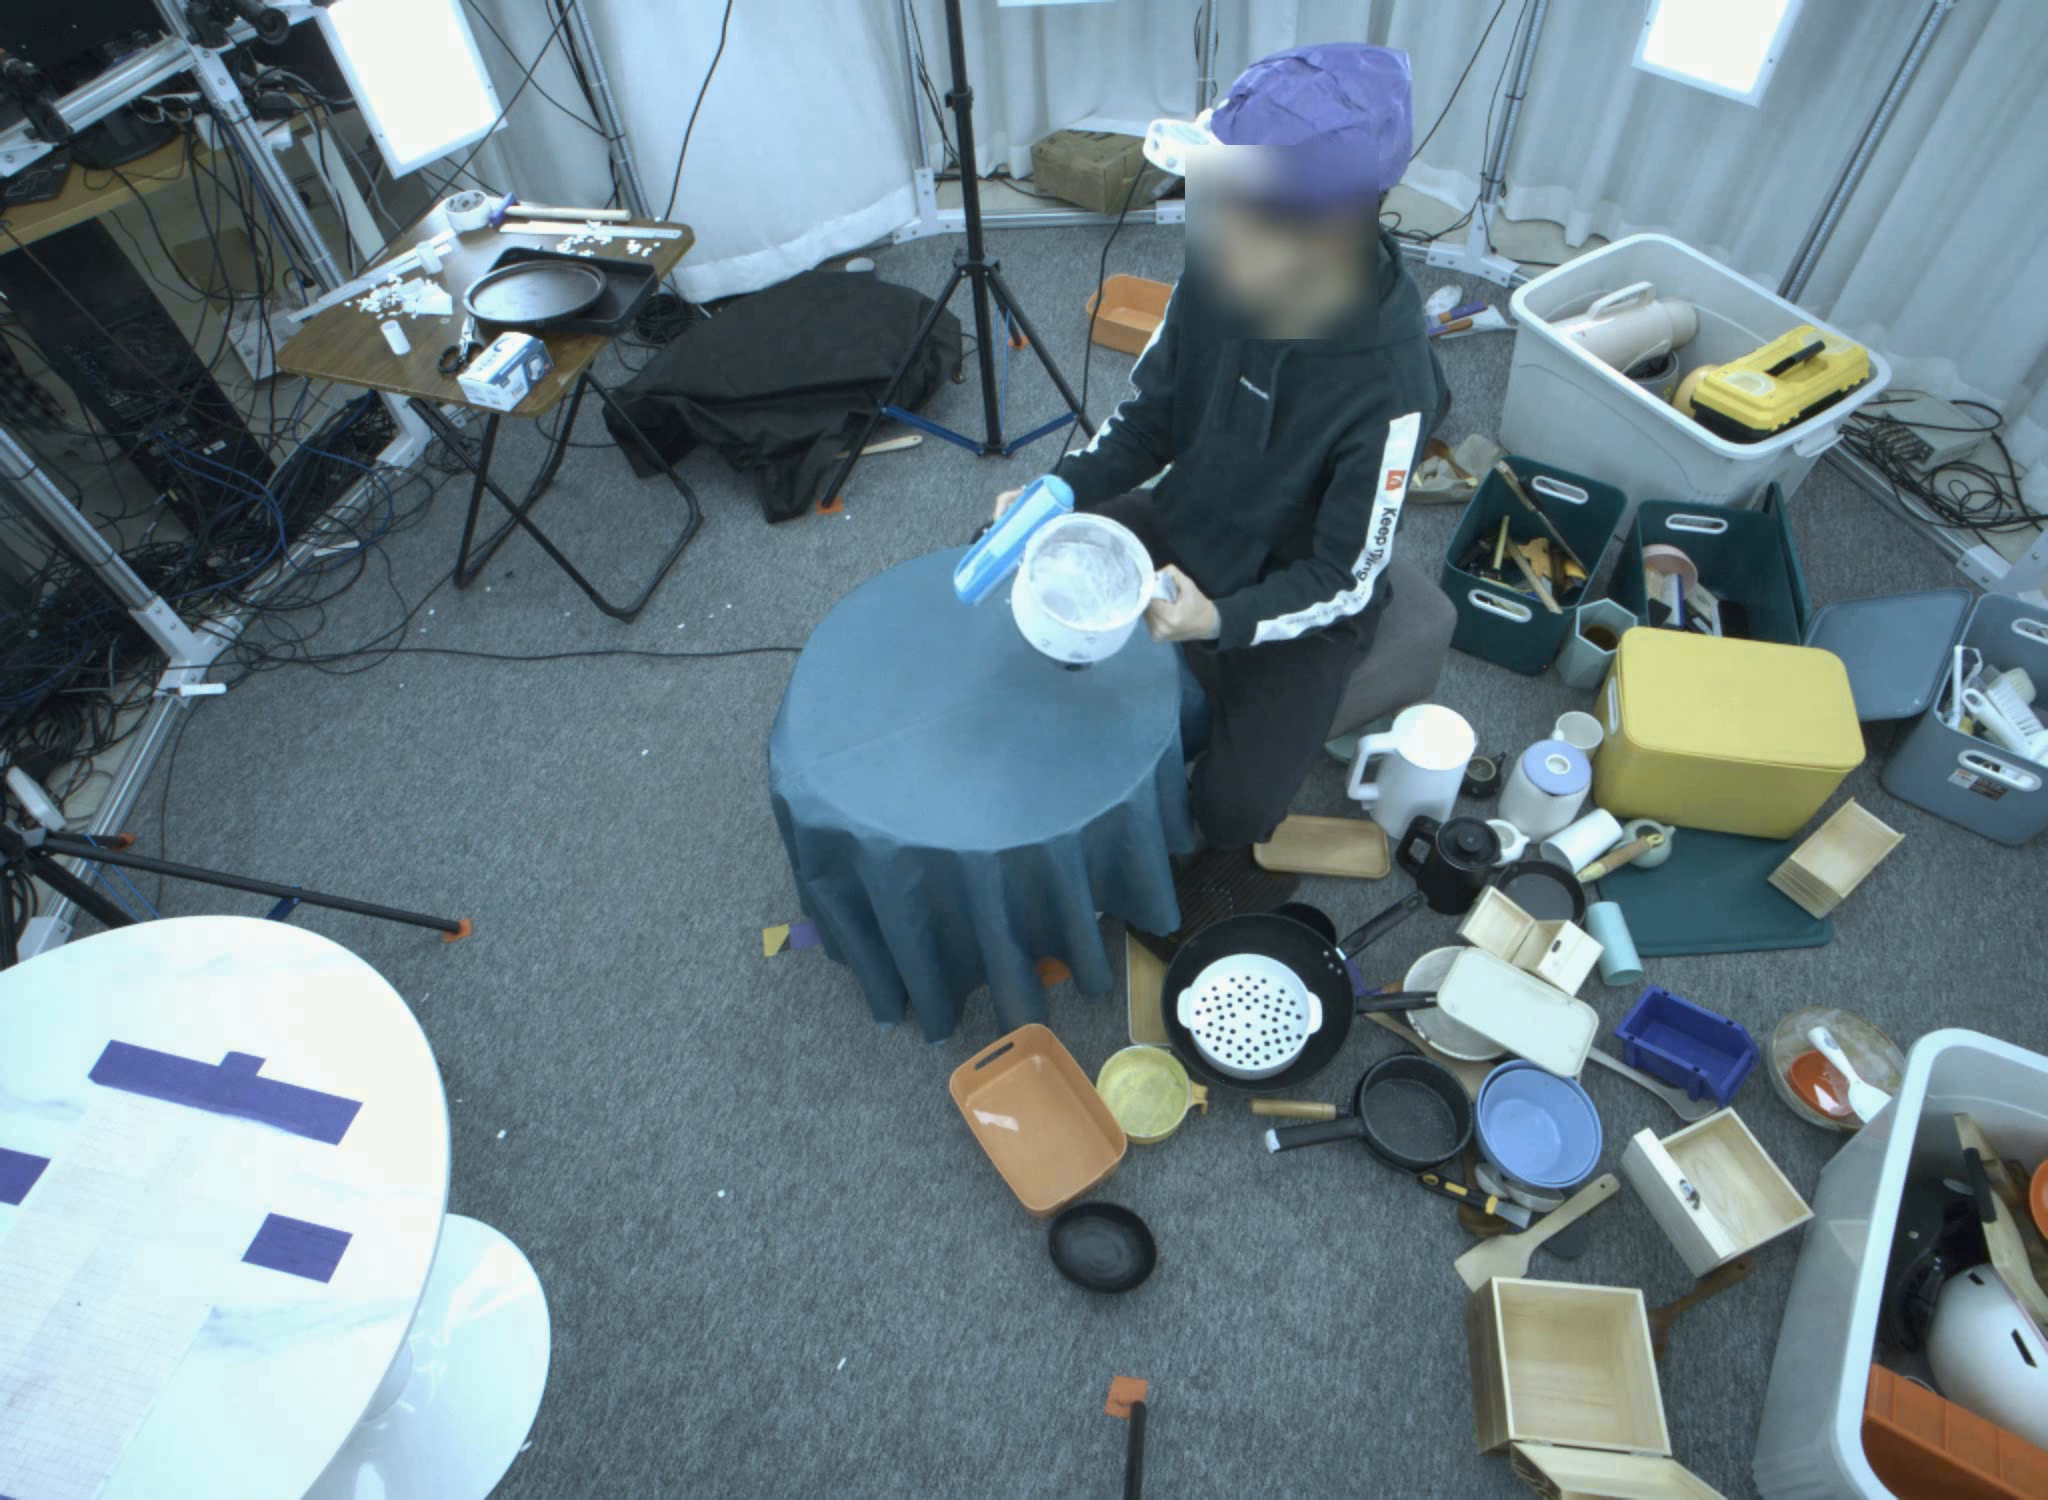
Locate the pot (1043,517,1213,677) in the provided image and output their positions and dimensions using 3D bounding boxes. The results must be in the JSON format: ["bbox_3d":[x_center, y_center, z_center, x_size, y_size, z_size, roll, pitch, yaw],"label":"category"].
[{"bbox_3d":[0.146,-0.202,1.658,0.235,0.136,0.177,3,70,-9],"label":"pot"}]

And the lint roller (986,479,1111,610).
[{"bbox_3d":[0.039,-0.301,1.725,0.068,0.227,0.179,40,25,-12],"label":"lint roller"}]
